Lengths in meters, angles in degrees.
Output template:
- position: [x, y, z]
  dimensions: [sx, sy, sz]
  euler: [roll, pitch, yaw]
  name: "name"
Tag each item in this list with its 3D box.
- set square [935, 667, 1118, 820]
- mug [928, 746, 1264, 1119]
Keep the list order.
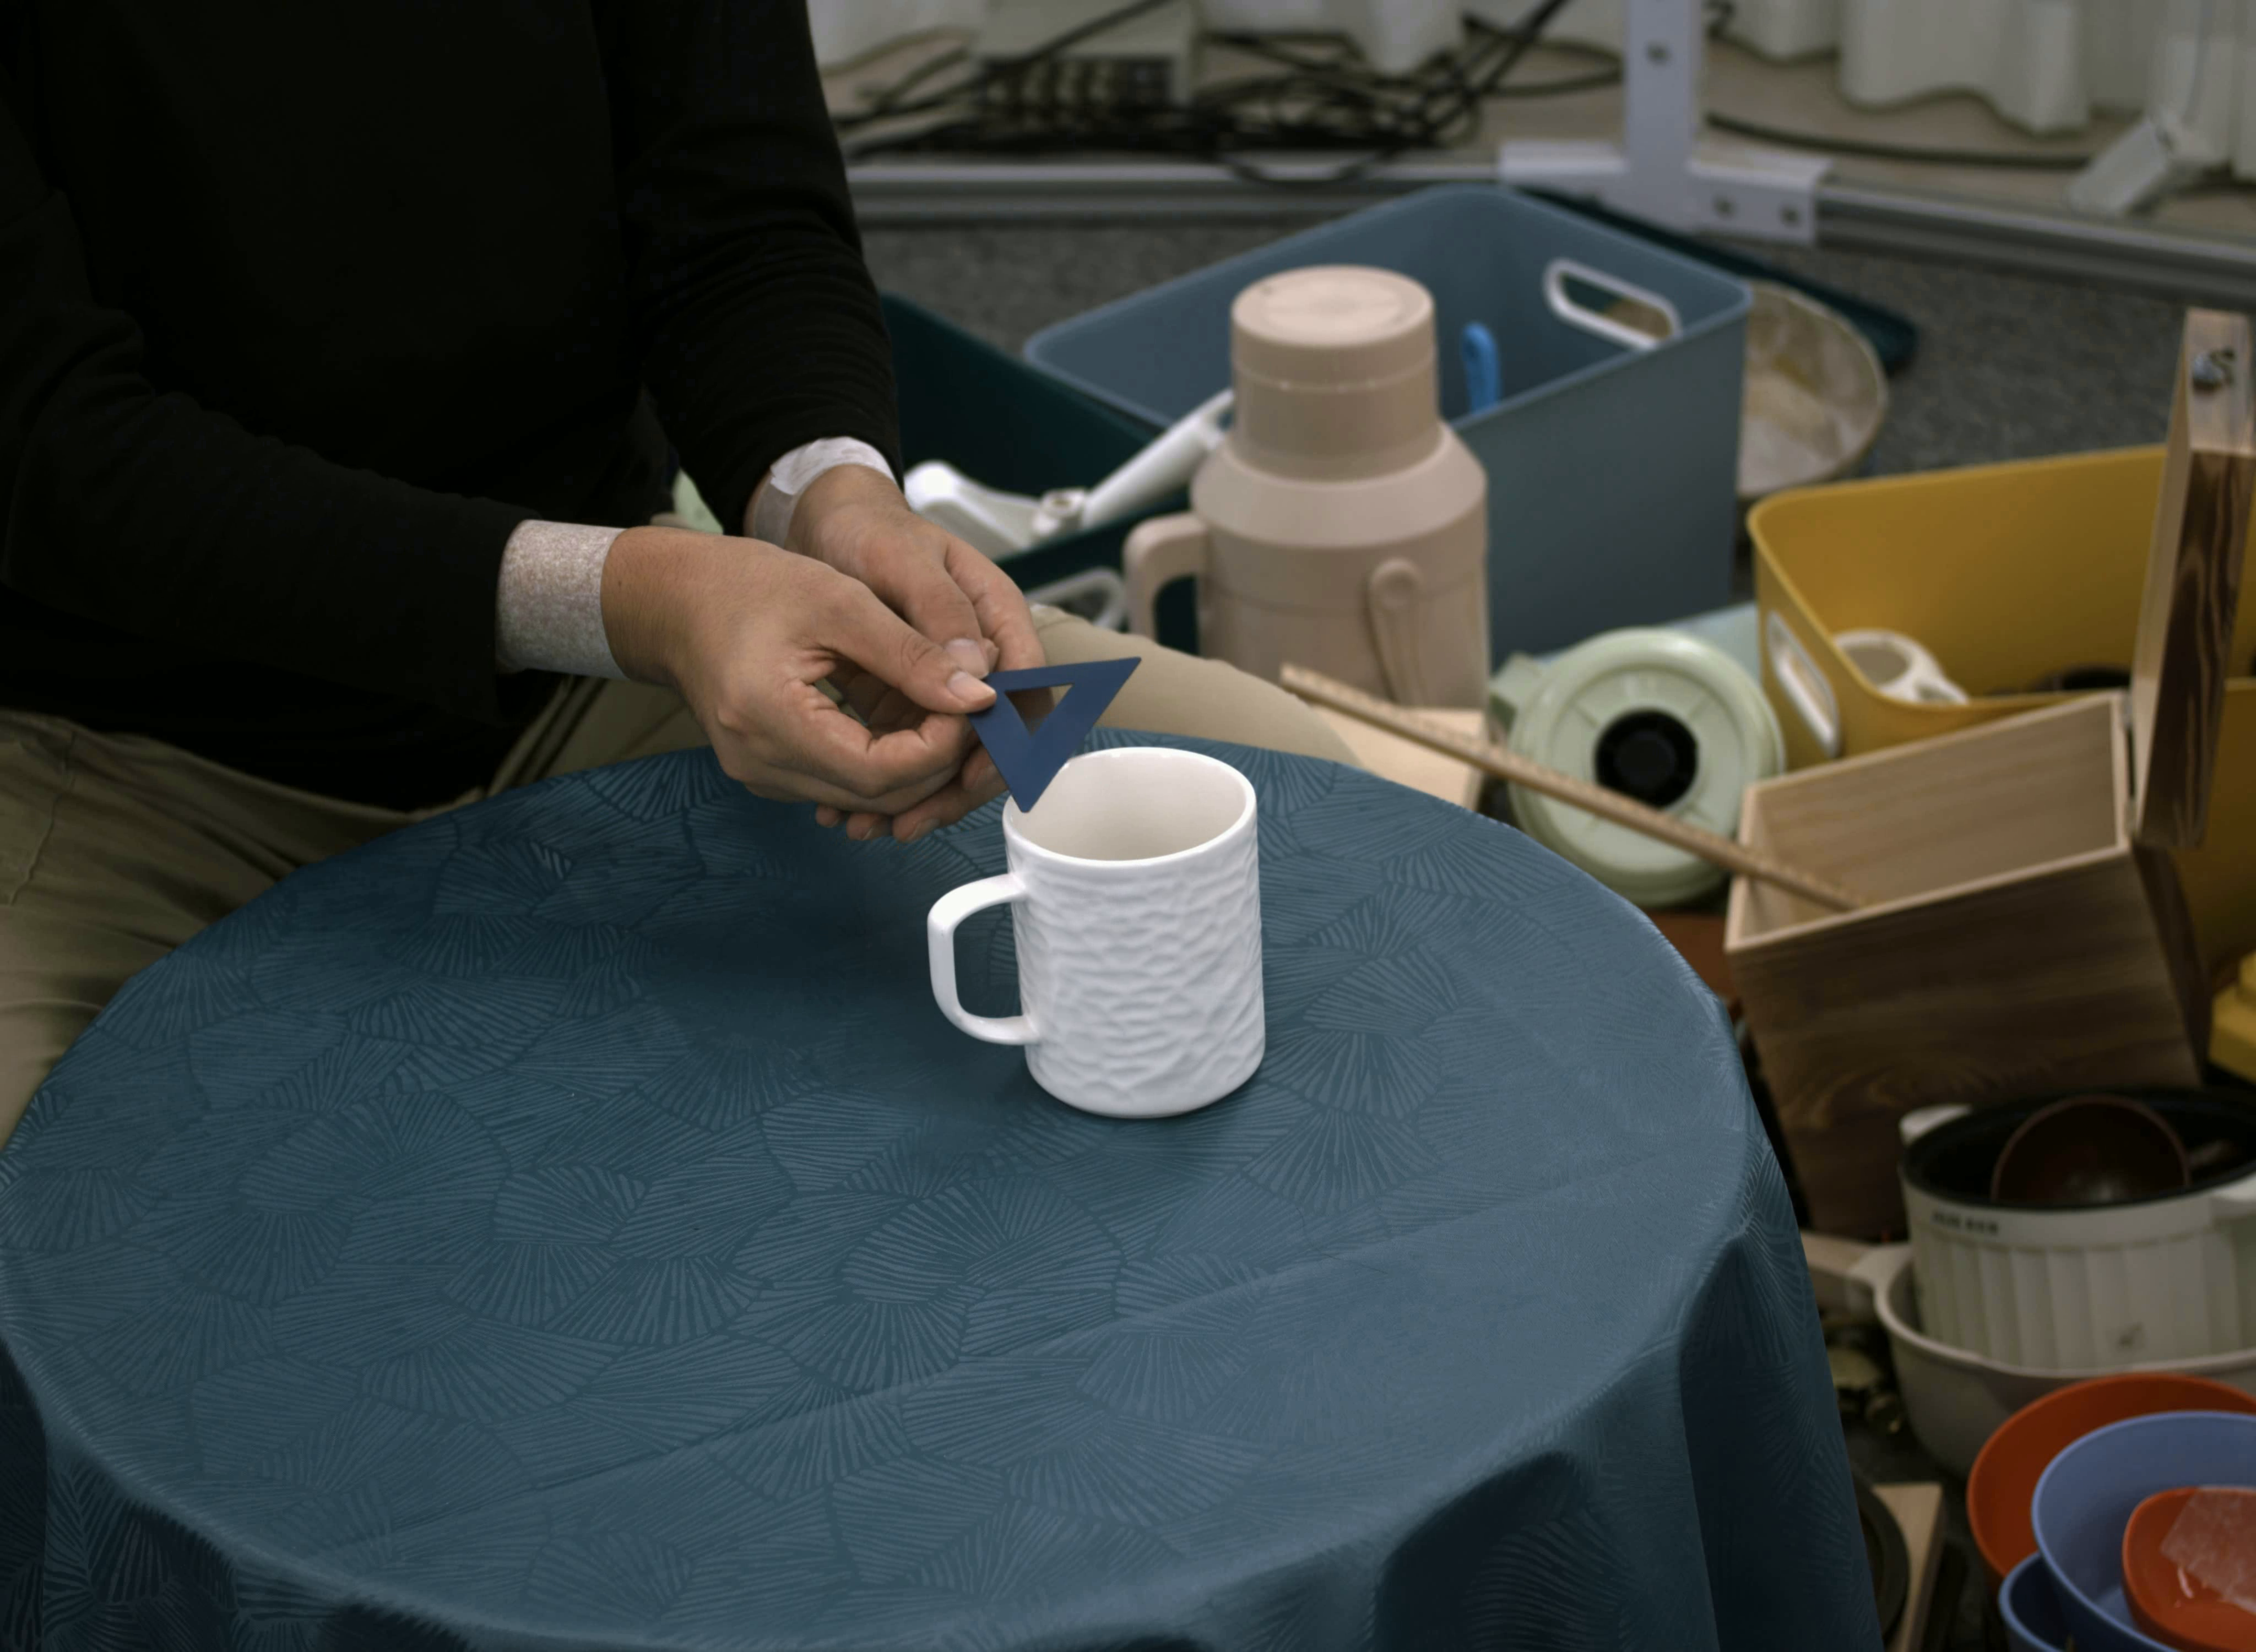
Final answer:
- position: [-0.051, -0.032, 1.919]
  dimensions: [0.061, 0.006, 0.134]
  euler: [9, 26, 18]
  name: "set square"
- position: [-0.011, 0.041, 1.909]
  dimensions: [0.119, 0.101, 0.085]
  euler: [-14, 29, -21]
  name: "mug"
